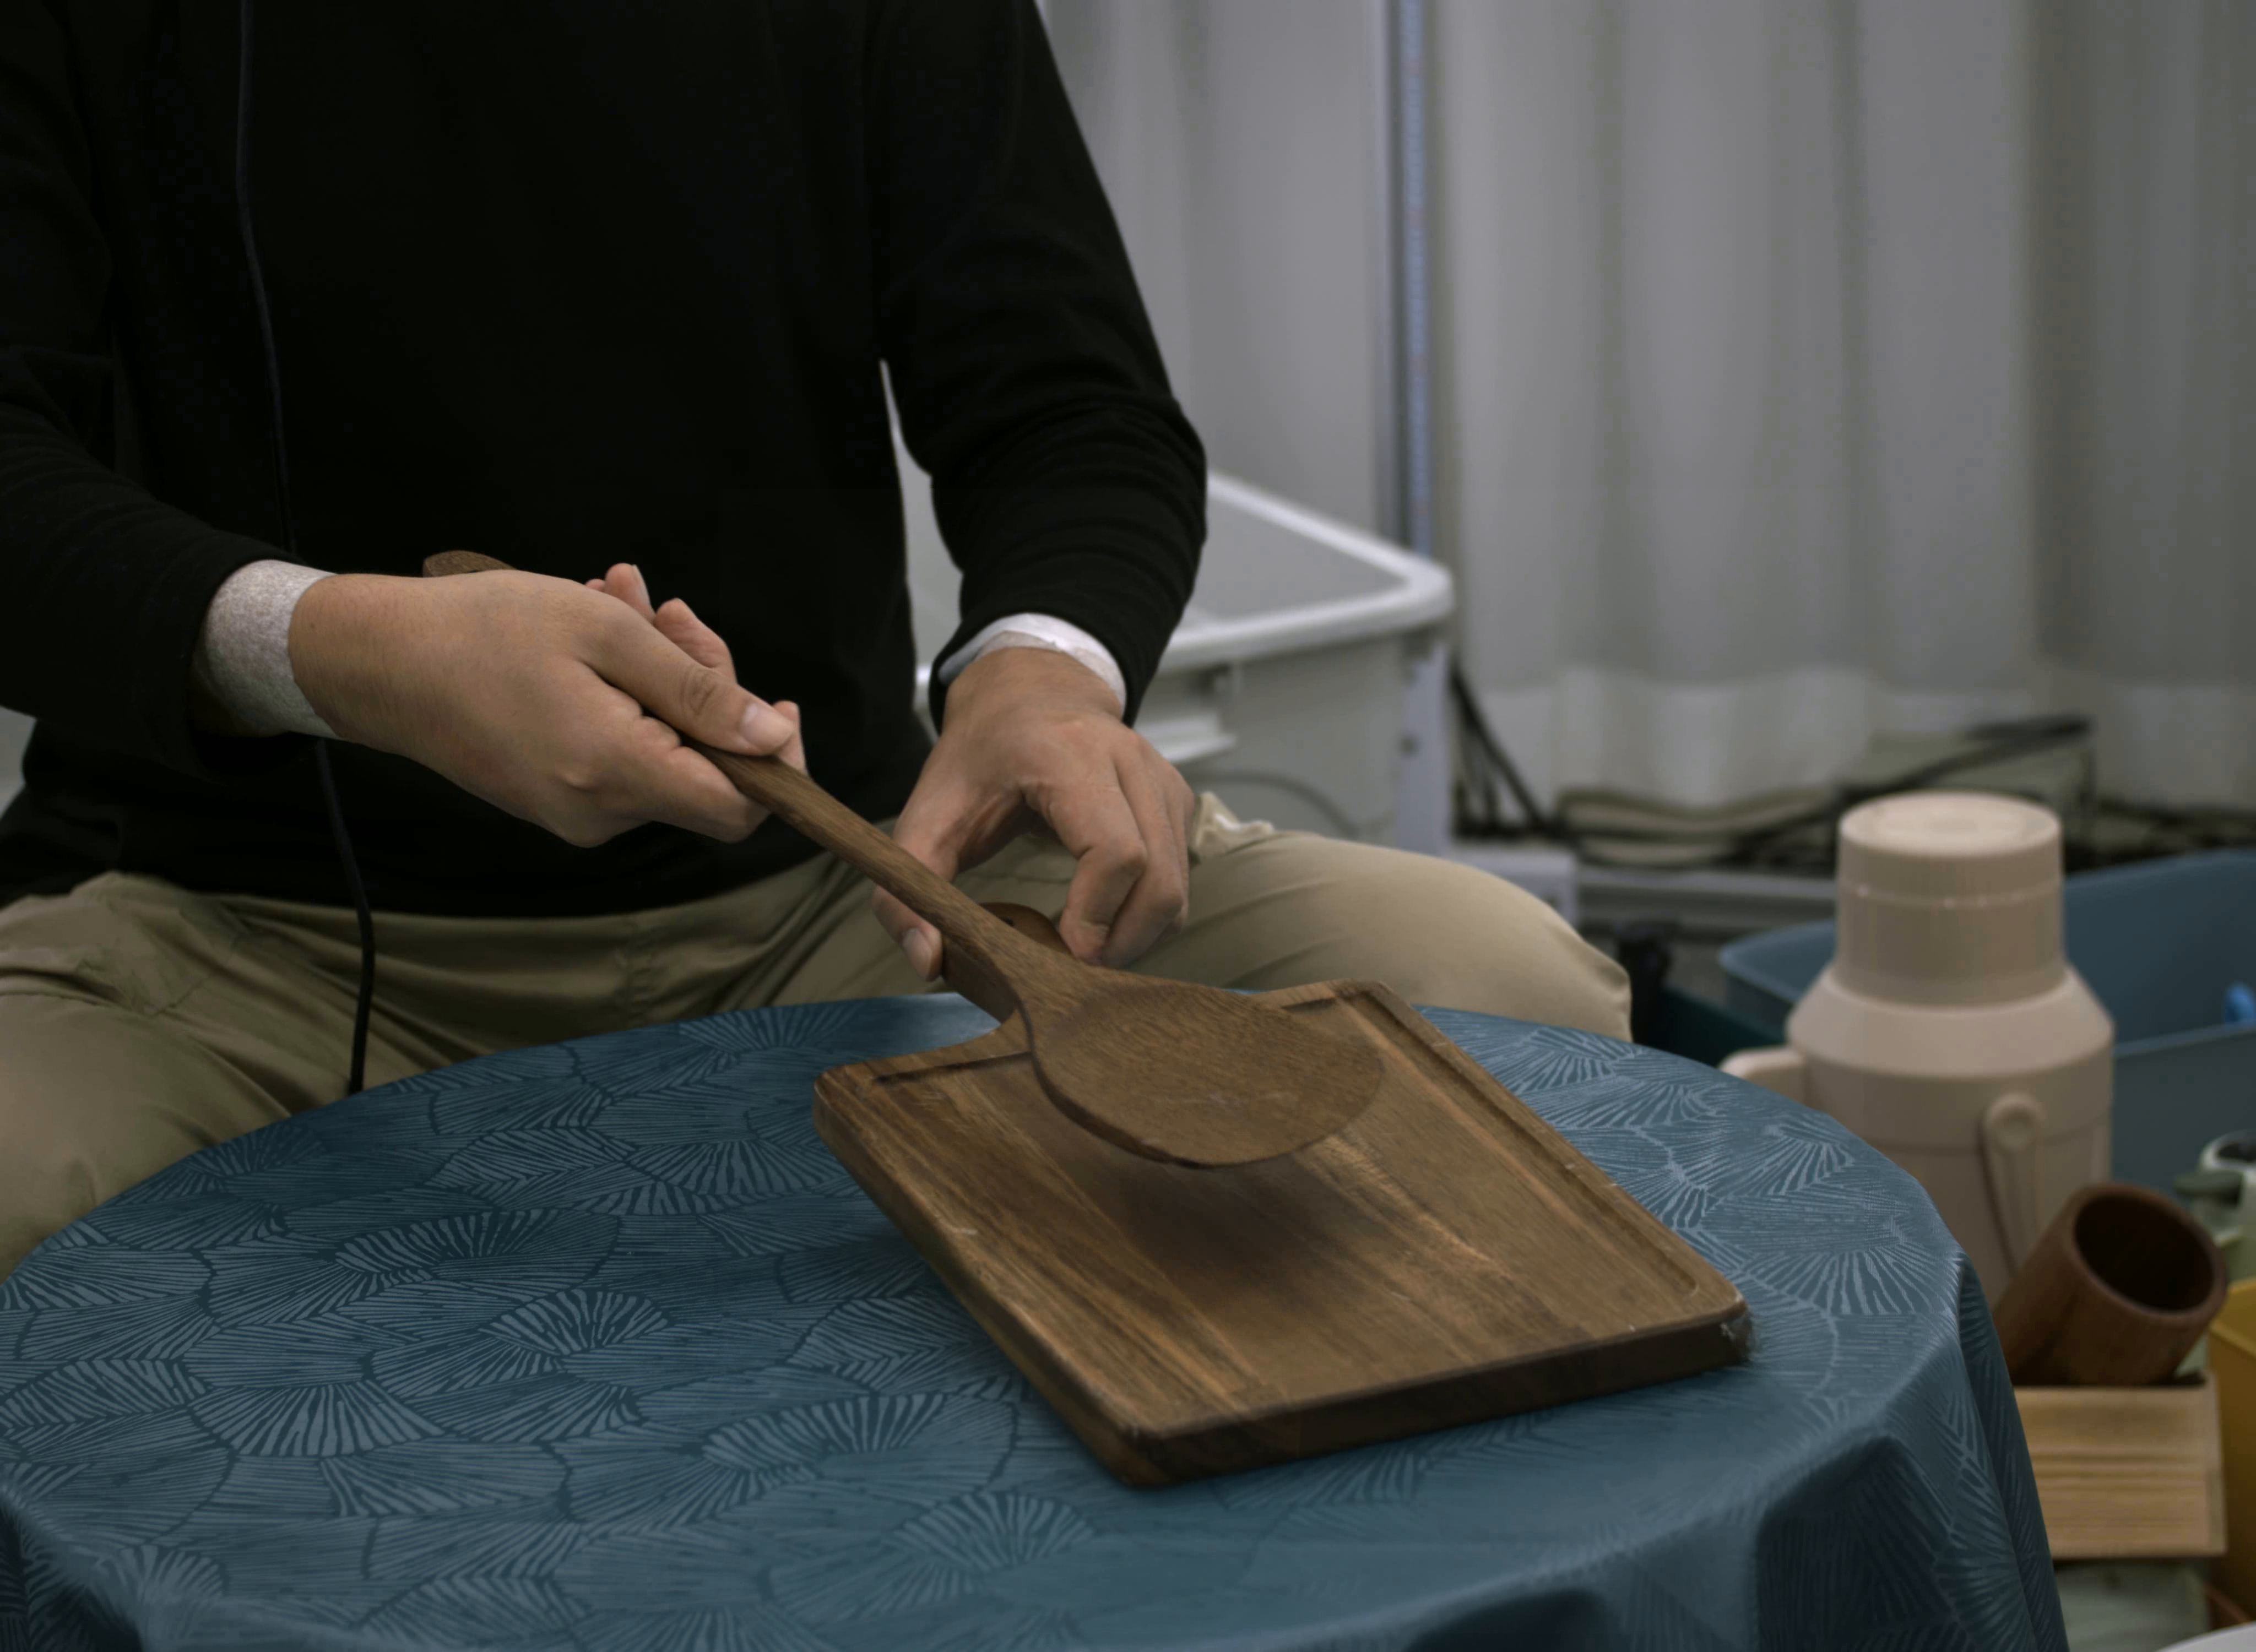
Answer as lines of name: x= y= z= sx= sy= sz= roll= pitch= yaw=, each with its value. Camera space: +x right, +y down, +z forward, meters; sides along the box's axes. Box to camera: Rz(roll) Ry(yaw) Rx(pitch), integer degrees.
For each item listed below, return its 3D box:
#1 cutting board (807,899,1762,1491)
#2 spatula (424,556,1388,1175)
cutting board: x=0.020 y=0.095 z=1.647 sx=0.200 sy=0.023 sz=0.356 roll=-9 pitch=24 yaw=-22
spatula: x=-0.084 y=0.003 z=1.669 sx=0.389 sy=0.015 sz=0.096 roll=33 pitch=37 yaw=31
